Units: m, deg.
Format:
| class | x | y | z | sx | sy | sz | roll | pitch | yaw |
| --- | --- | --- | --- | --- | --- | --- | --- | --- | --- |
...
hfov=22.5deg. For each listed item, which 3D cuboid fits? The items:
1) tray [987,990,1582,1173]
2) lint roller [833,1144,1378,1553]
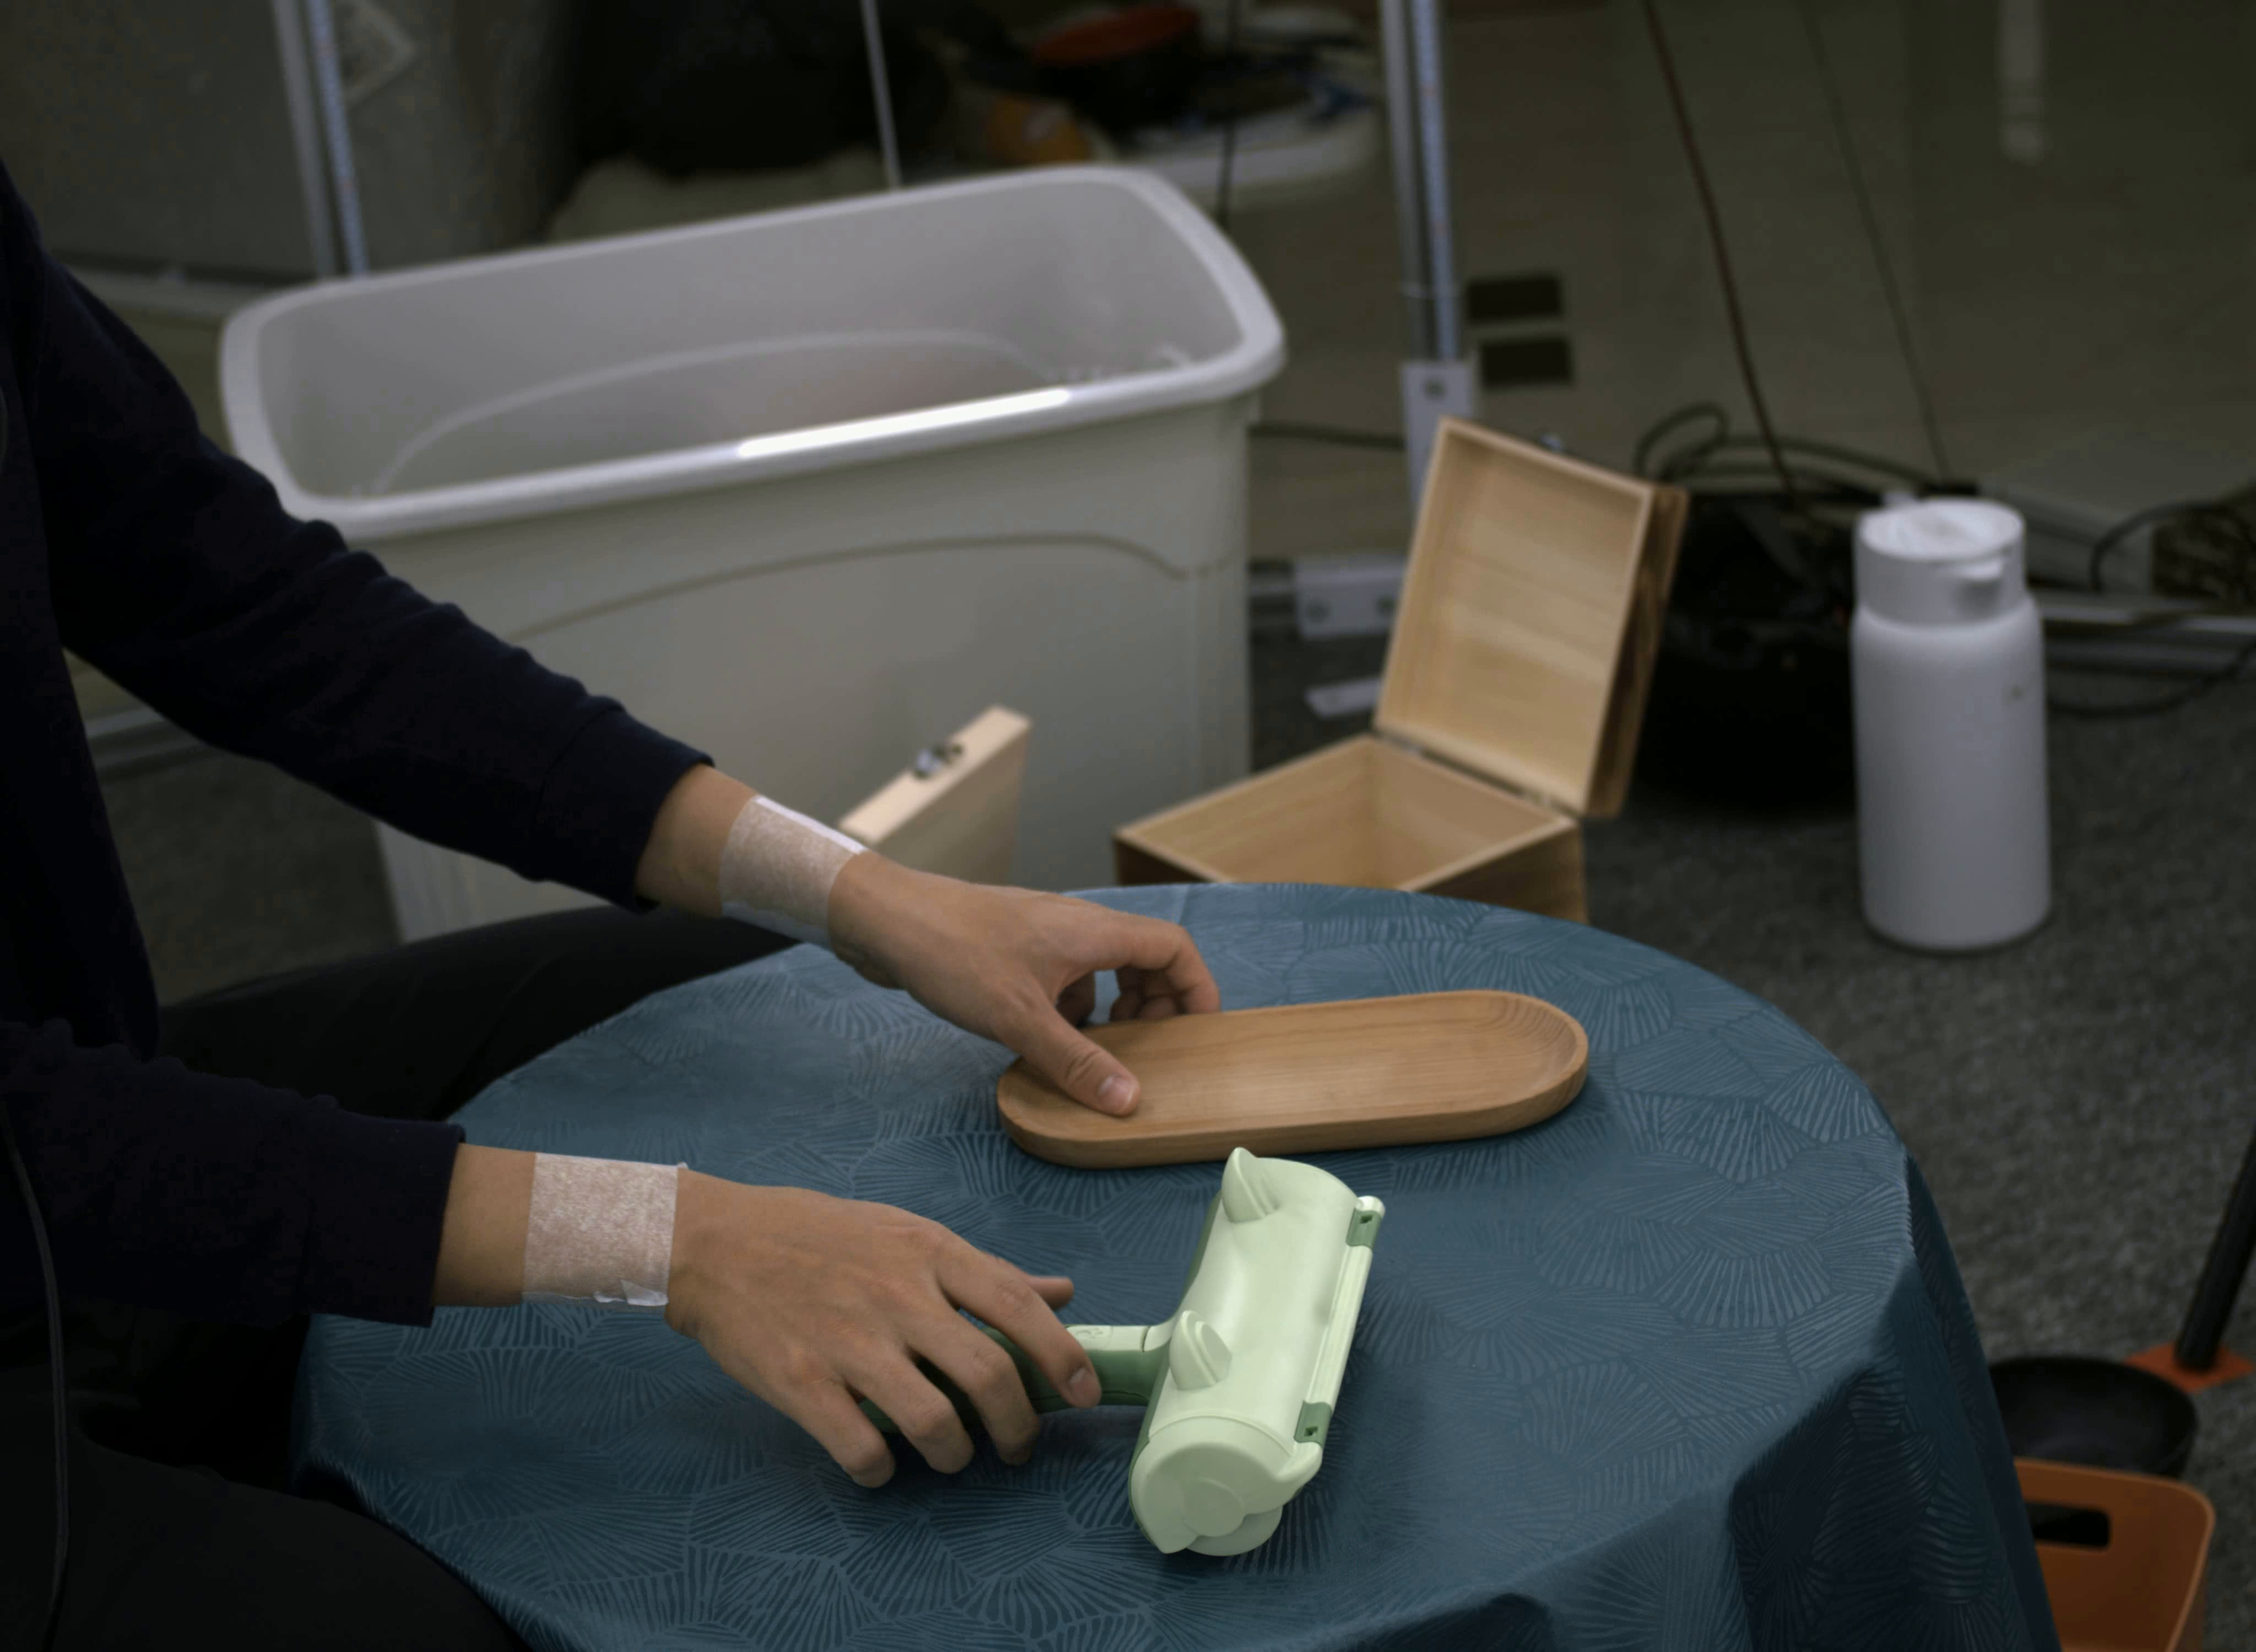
| class | x | y | z | sx | sy | sz | roll | pitch | yaw |
| --- | --- | --- | --- | --- | --- | --- | --- | --- | --- |
| tray | 0.061 | 0.100 | 2.196 | 0.231 | 0.020 | 0.100 | -7 | 25 | 4 |
| lint roller | -0.014 | 0.172 | 1.976 | 0.183 | 0.083 | 0.196 | 4 | 26 | 8 |
